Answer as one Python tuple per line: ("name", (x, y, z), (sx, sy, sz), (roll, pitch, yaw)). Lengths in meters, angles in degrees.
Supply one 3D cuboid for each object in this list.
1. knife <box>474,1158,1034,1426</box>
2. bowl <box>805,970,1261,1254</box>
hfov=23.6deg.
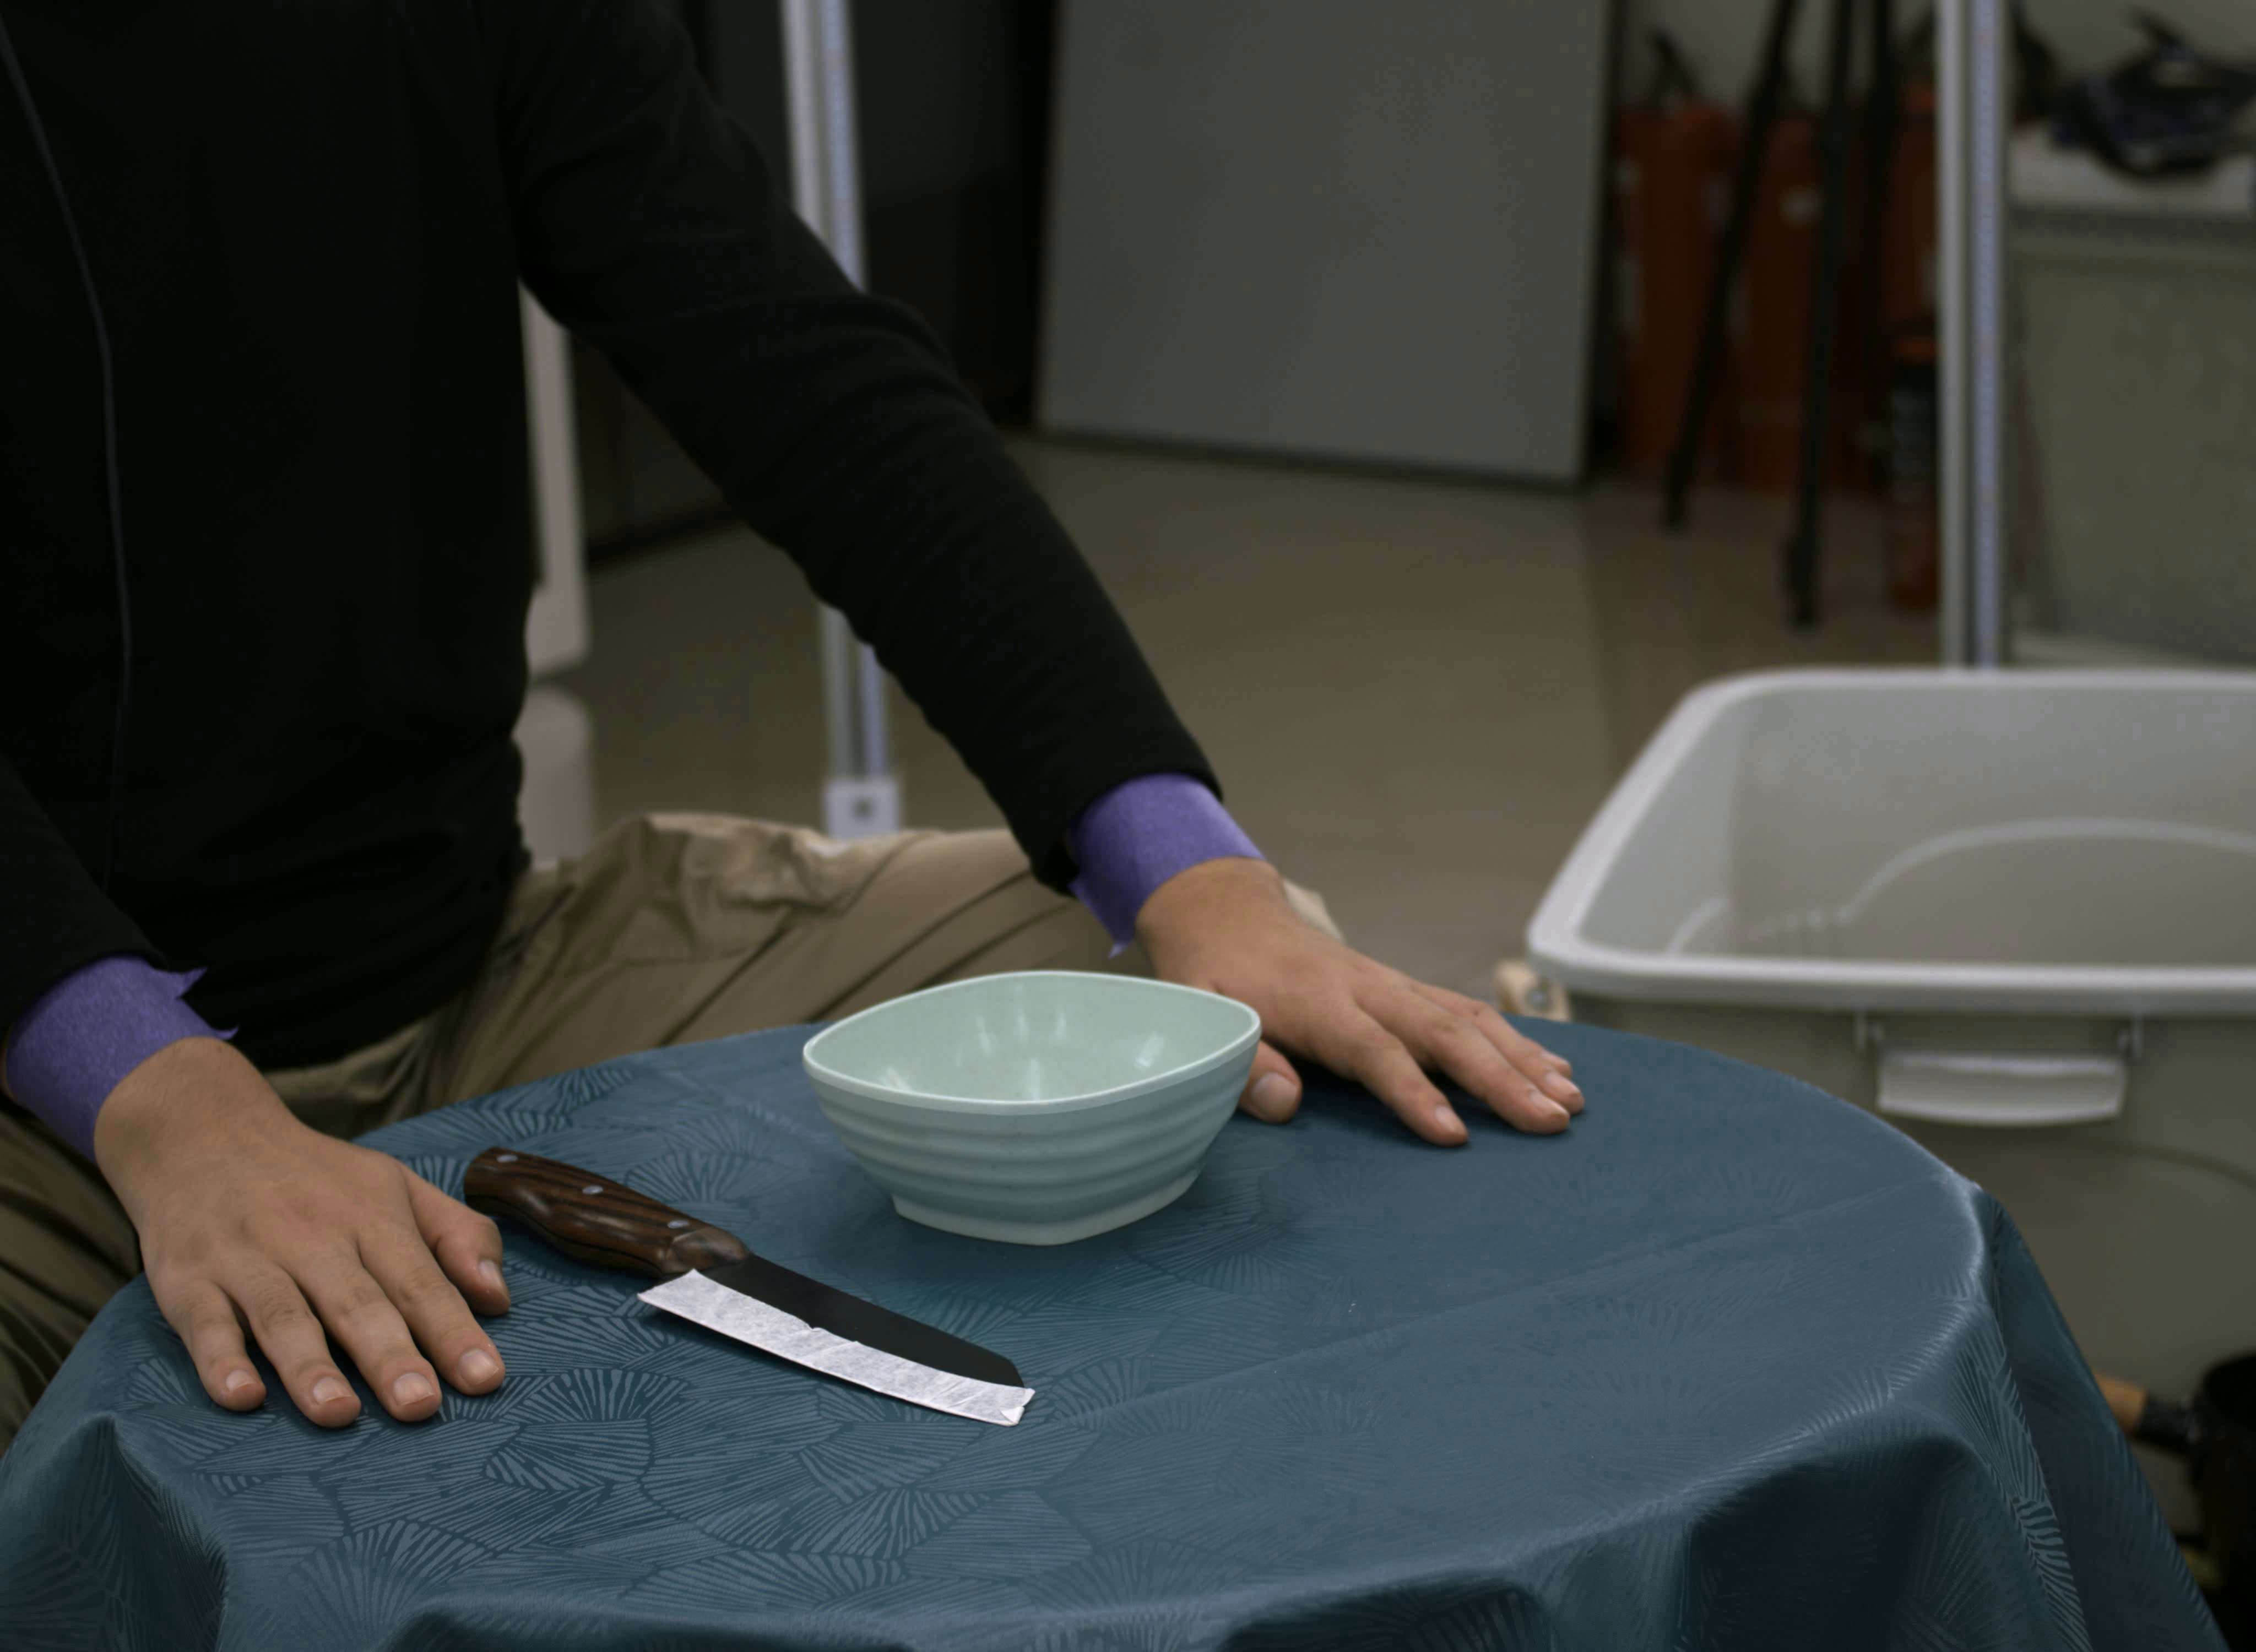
("knife", (-0.119, 0.146, 1.681), (0.049, 0.020, 0.292), (-20, 23, -34))
("bowl", (-0.029, 0.097, 1.767), (0.149, 0.059, 0.152), (-3, 15, 0))
